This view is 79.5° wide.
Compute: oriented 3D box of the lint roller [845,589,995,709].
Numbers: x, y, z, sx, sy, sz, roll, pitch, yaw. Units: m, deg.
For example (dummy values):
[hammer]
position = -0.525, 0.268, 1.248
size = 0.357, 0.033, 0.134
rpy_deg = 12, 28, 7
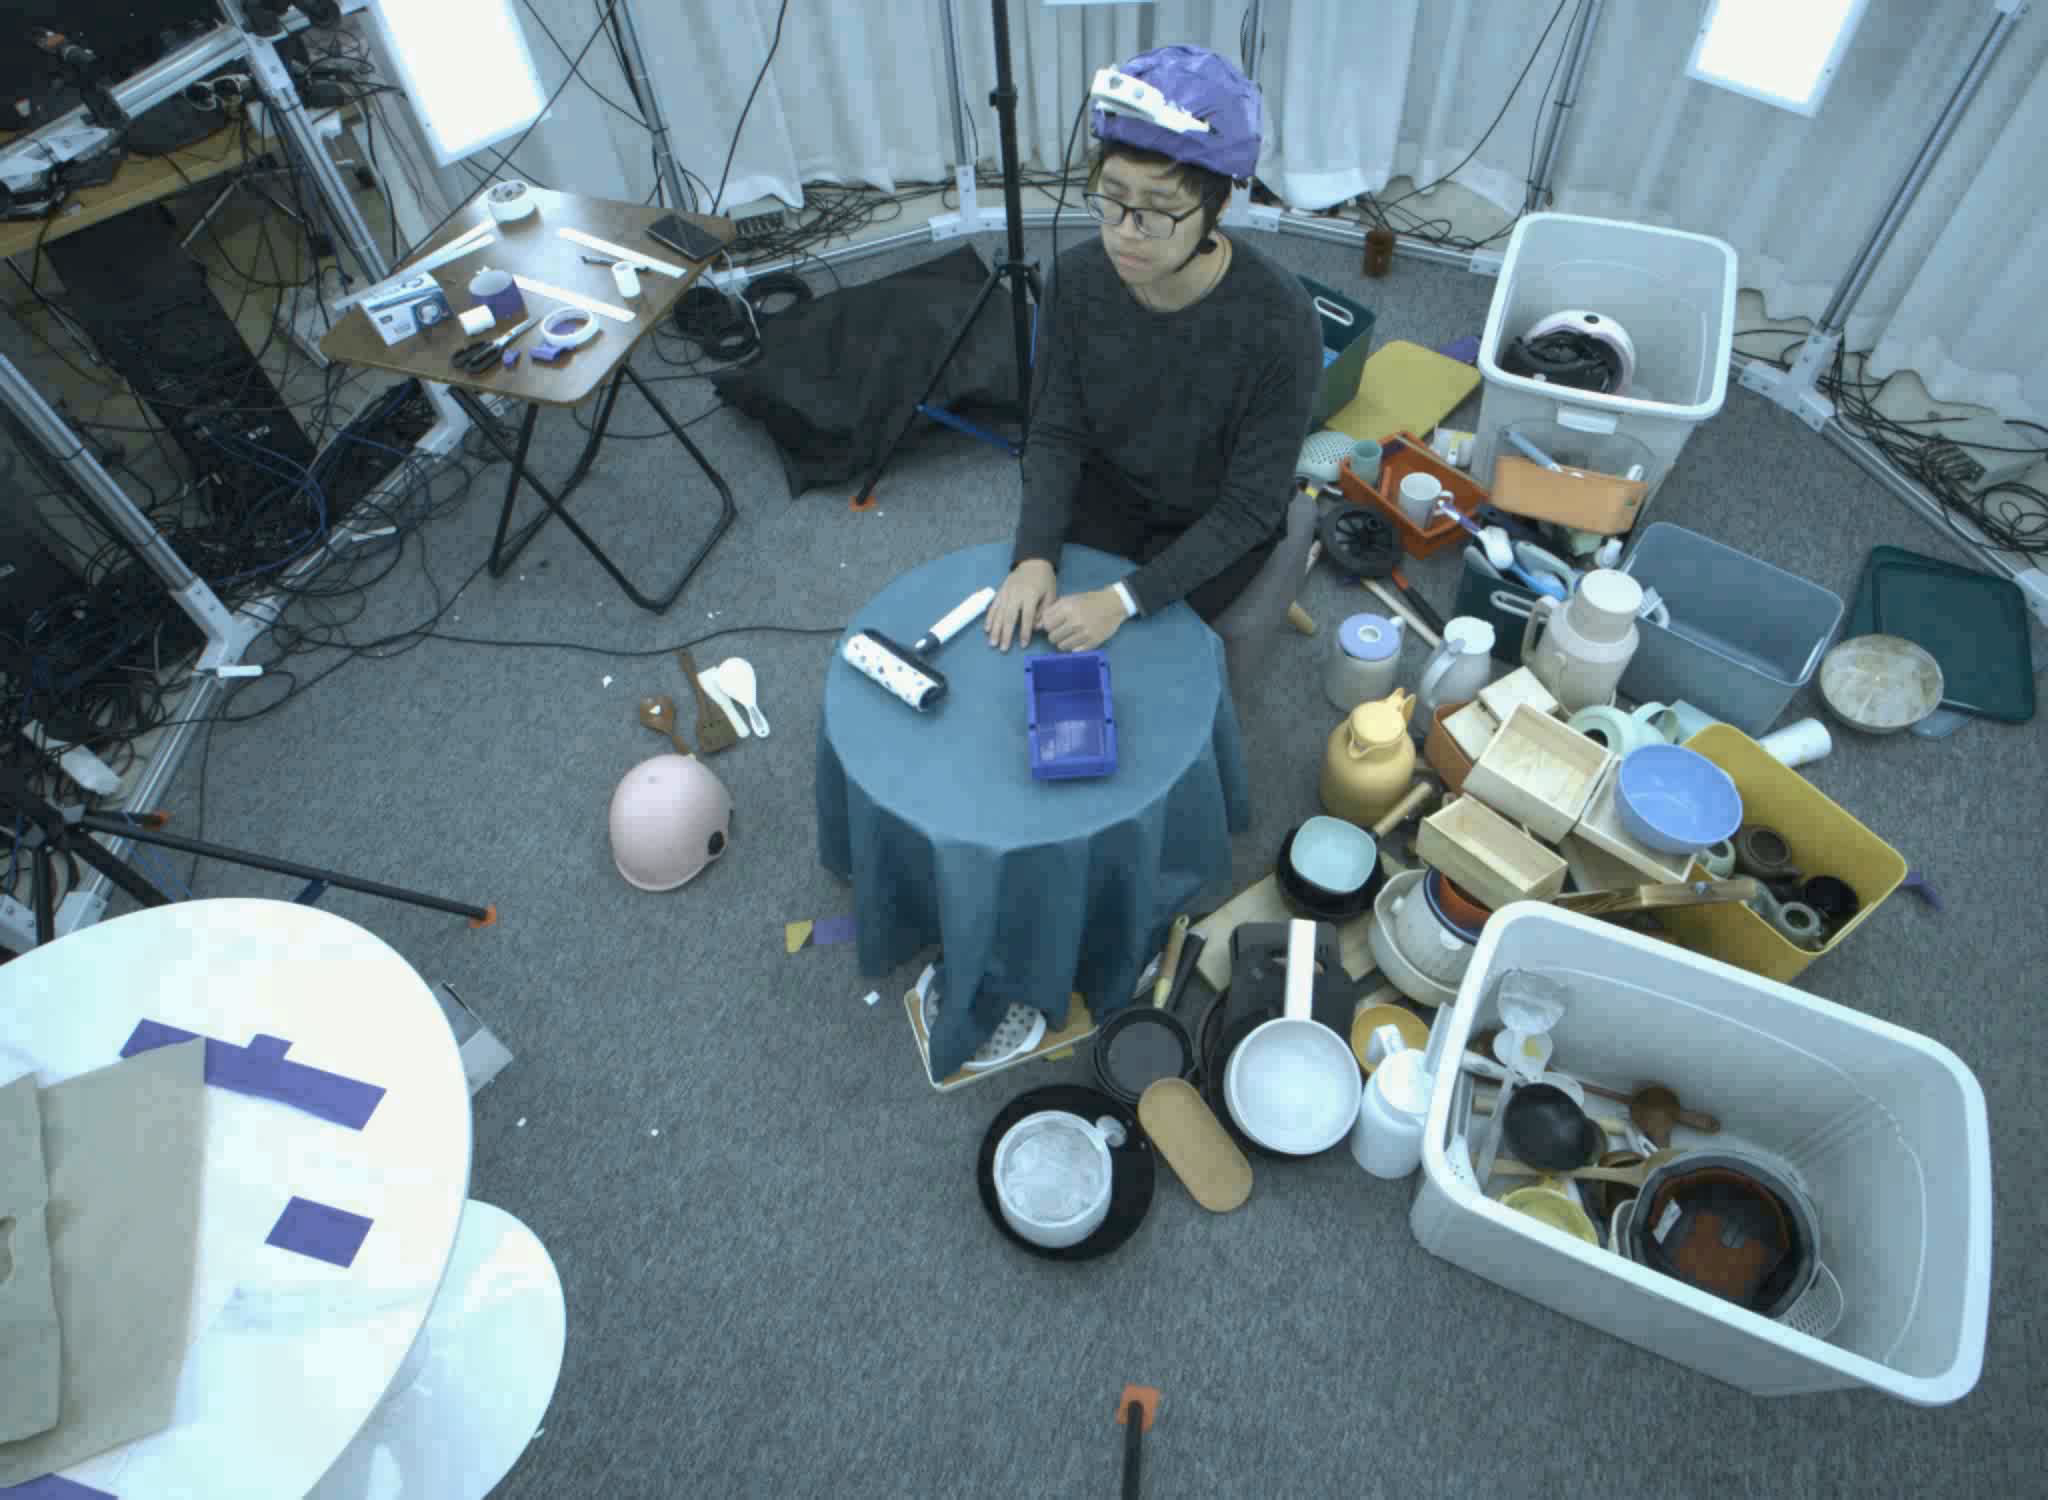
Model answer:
[lint roller]
position = -0.136, -0.181, 1.894
size = 0.173, 0.051, 0.248
rpy_deg = 34, 61, 24

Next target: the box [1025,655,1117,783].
[box]
position = 0.068, -0.040, 1.764
size = 0.124, 0.083, 0.177
rpy_deg = -3, 52, 0
